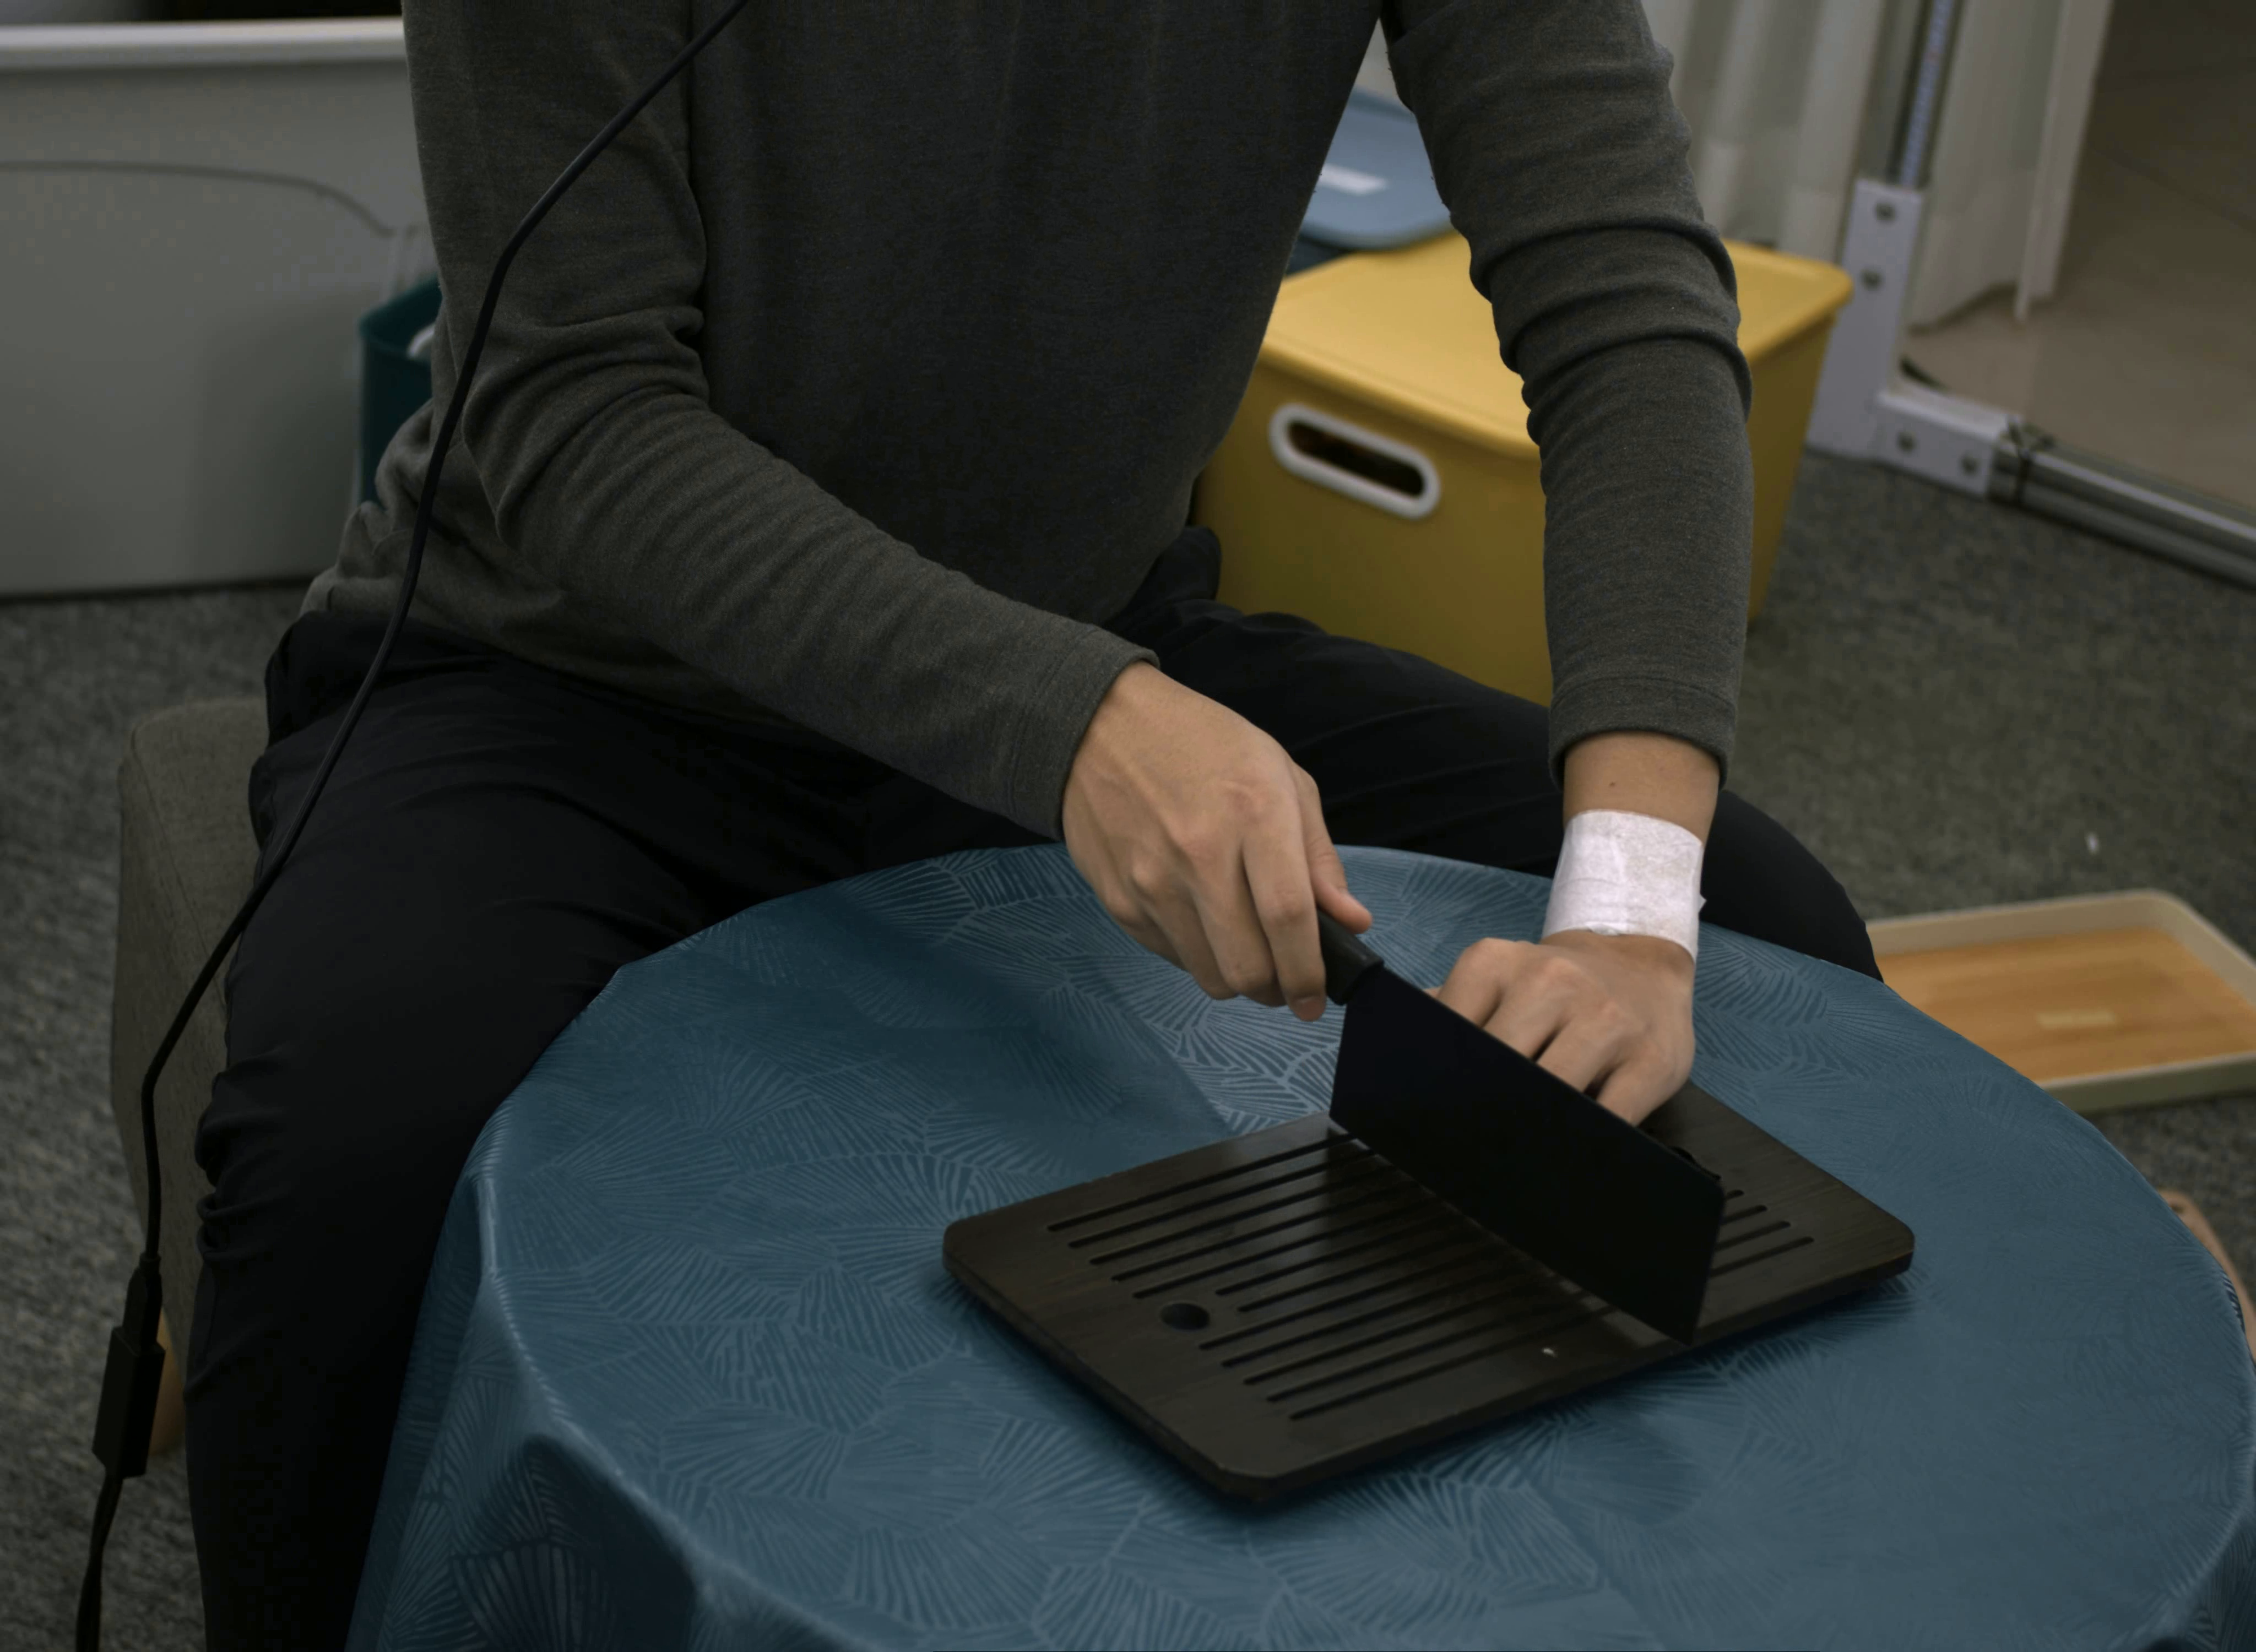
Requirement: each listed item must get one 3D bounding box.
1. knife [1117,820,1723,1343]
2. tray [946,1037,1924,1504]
[{"bbox_3d":[0.093,0.079,1.794,0.021,0.081,0.305,-9,33,-38],"label":"knife"},{"bbox_3d":[0.104,0.144,1.768,0.304,0.018,0.171,-14,32,-35],"label":"tray"}]
